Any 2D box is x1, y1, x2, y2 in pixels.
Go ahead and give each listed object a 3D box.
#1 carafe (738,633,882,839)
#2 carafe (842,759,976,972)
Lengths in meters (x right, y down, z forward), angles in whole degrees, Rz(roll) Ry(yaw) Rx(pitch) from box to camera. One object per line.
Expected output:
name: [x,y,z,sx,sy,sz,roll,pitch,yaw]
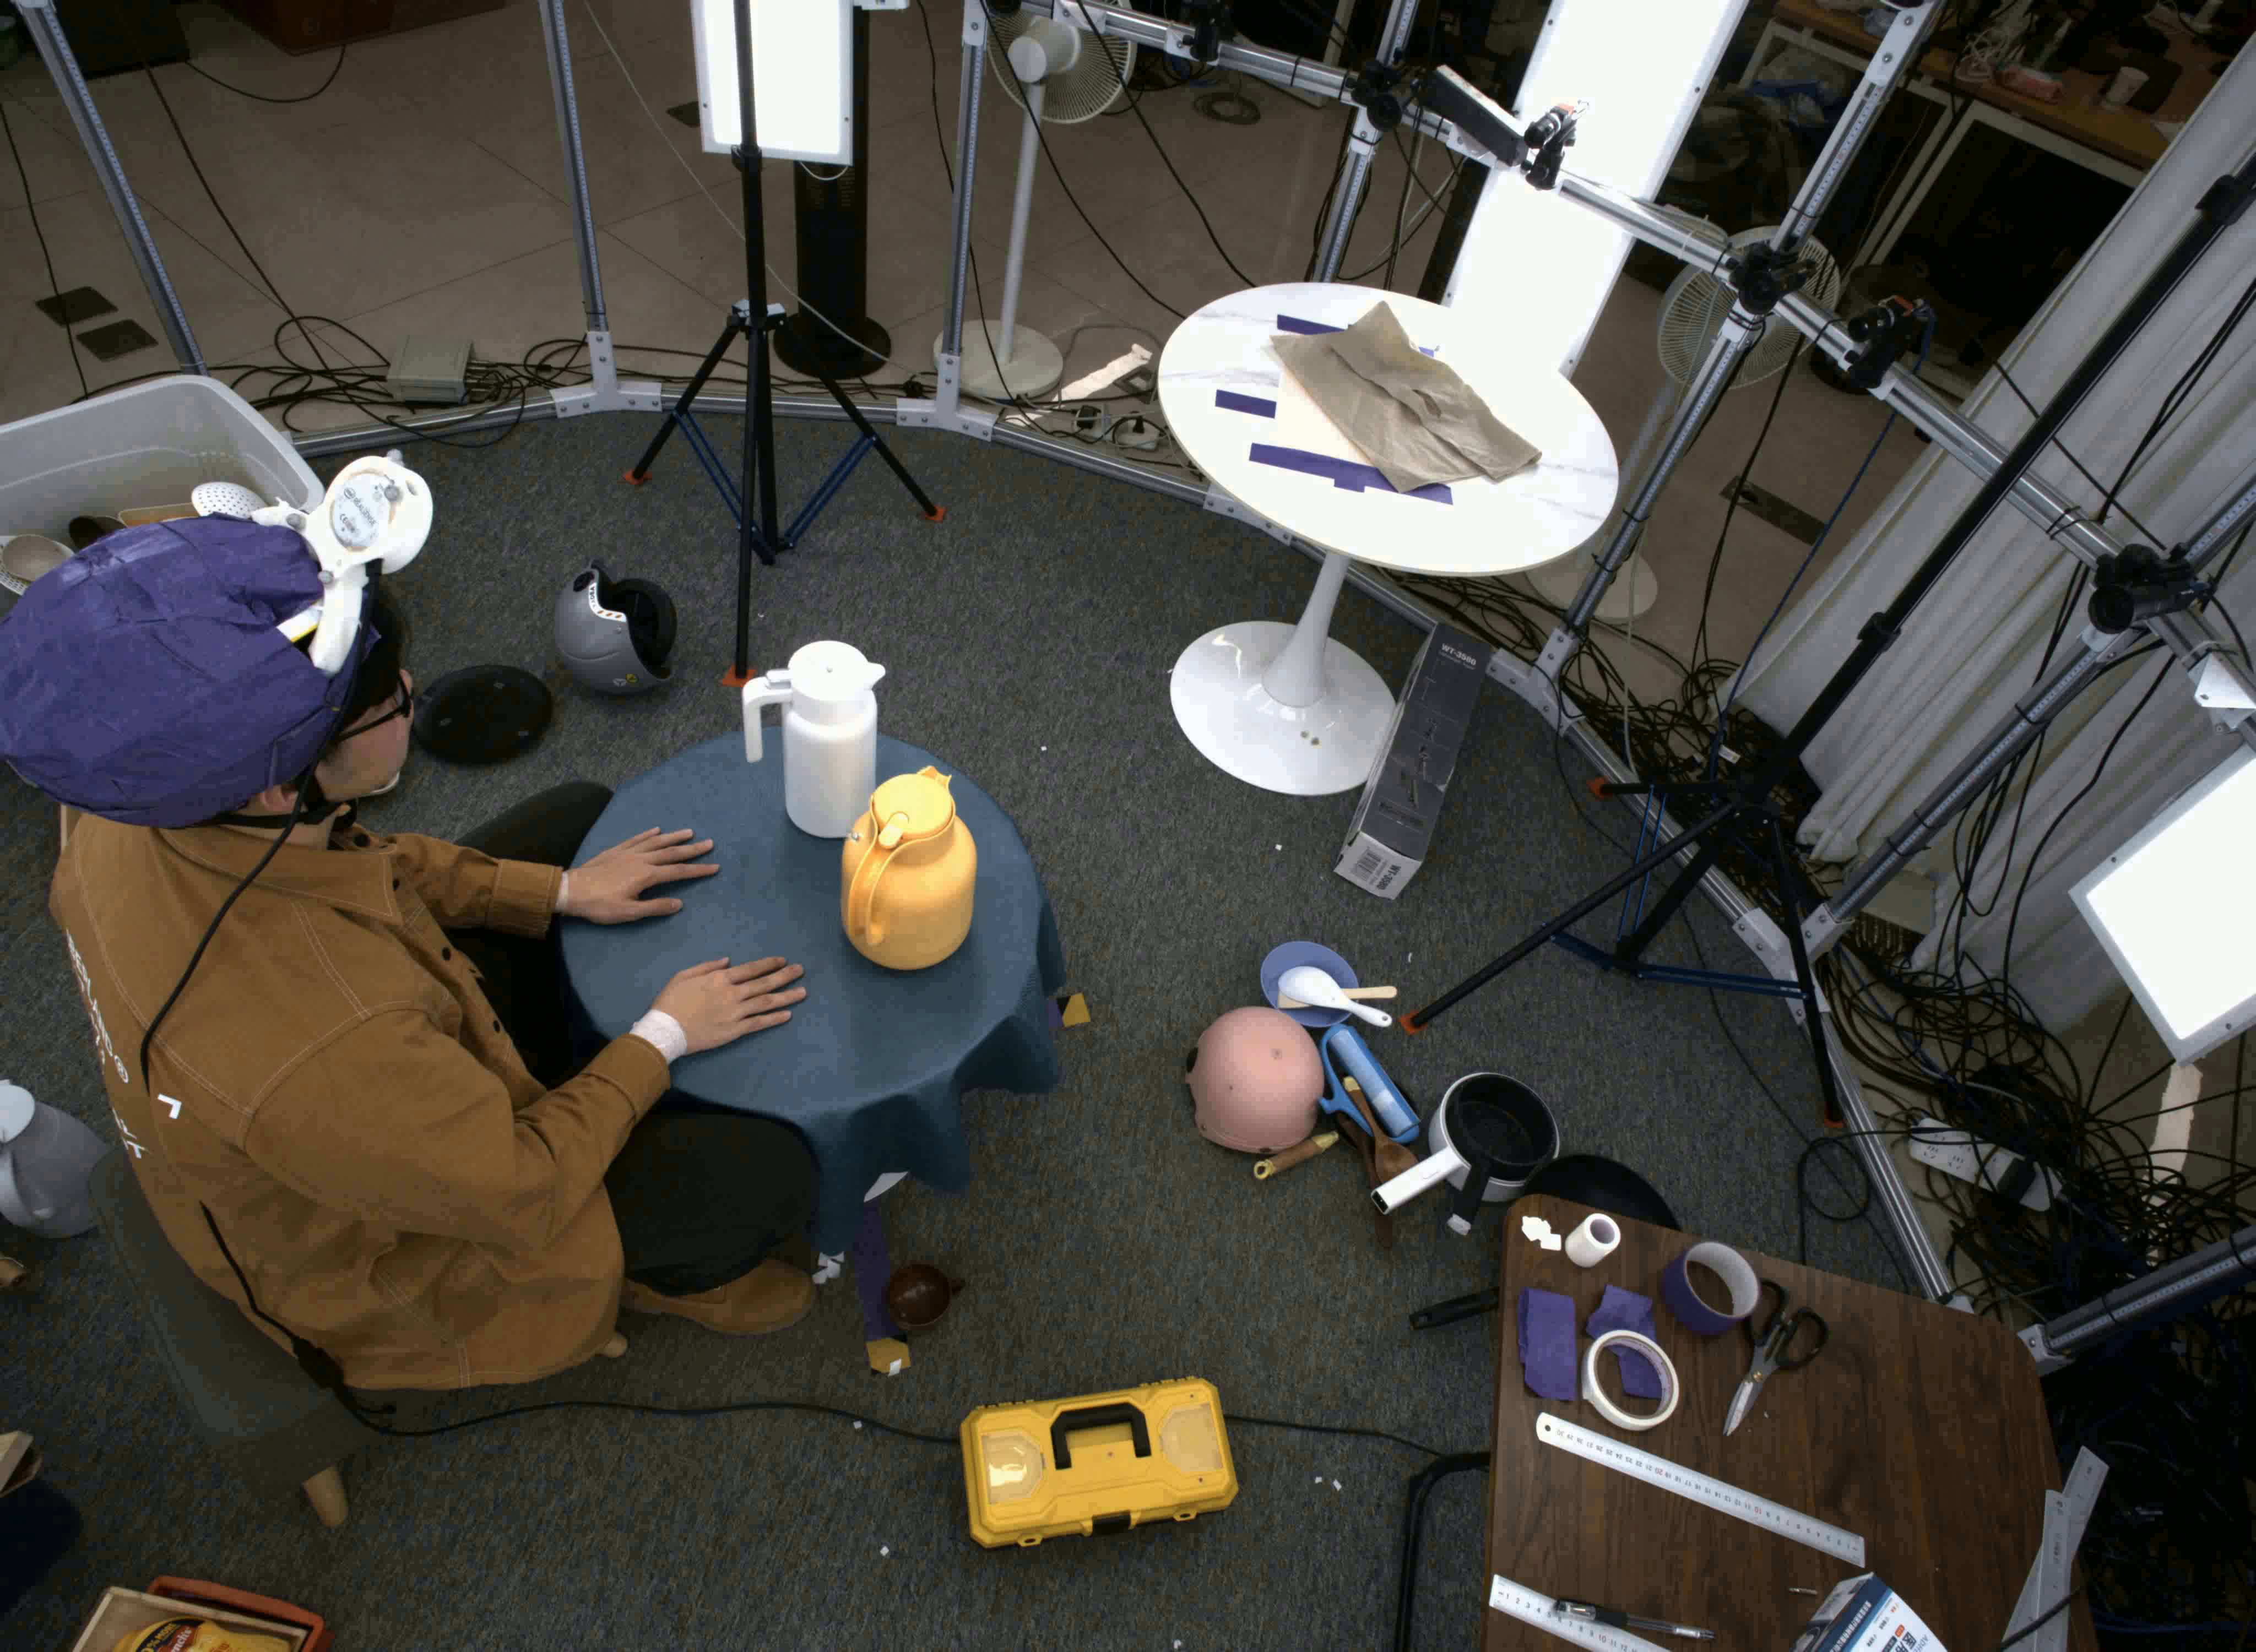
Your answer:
carafe: [-0.397,-0.107,1.635,0.173,0.274,0.121,-10,57,-19]
carafe: [-0.272,0.057,1.548,0.160,0.267,0.201,24,50,11]
